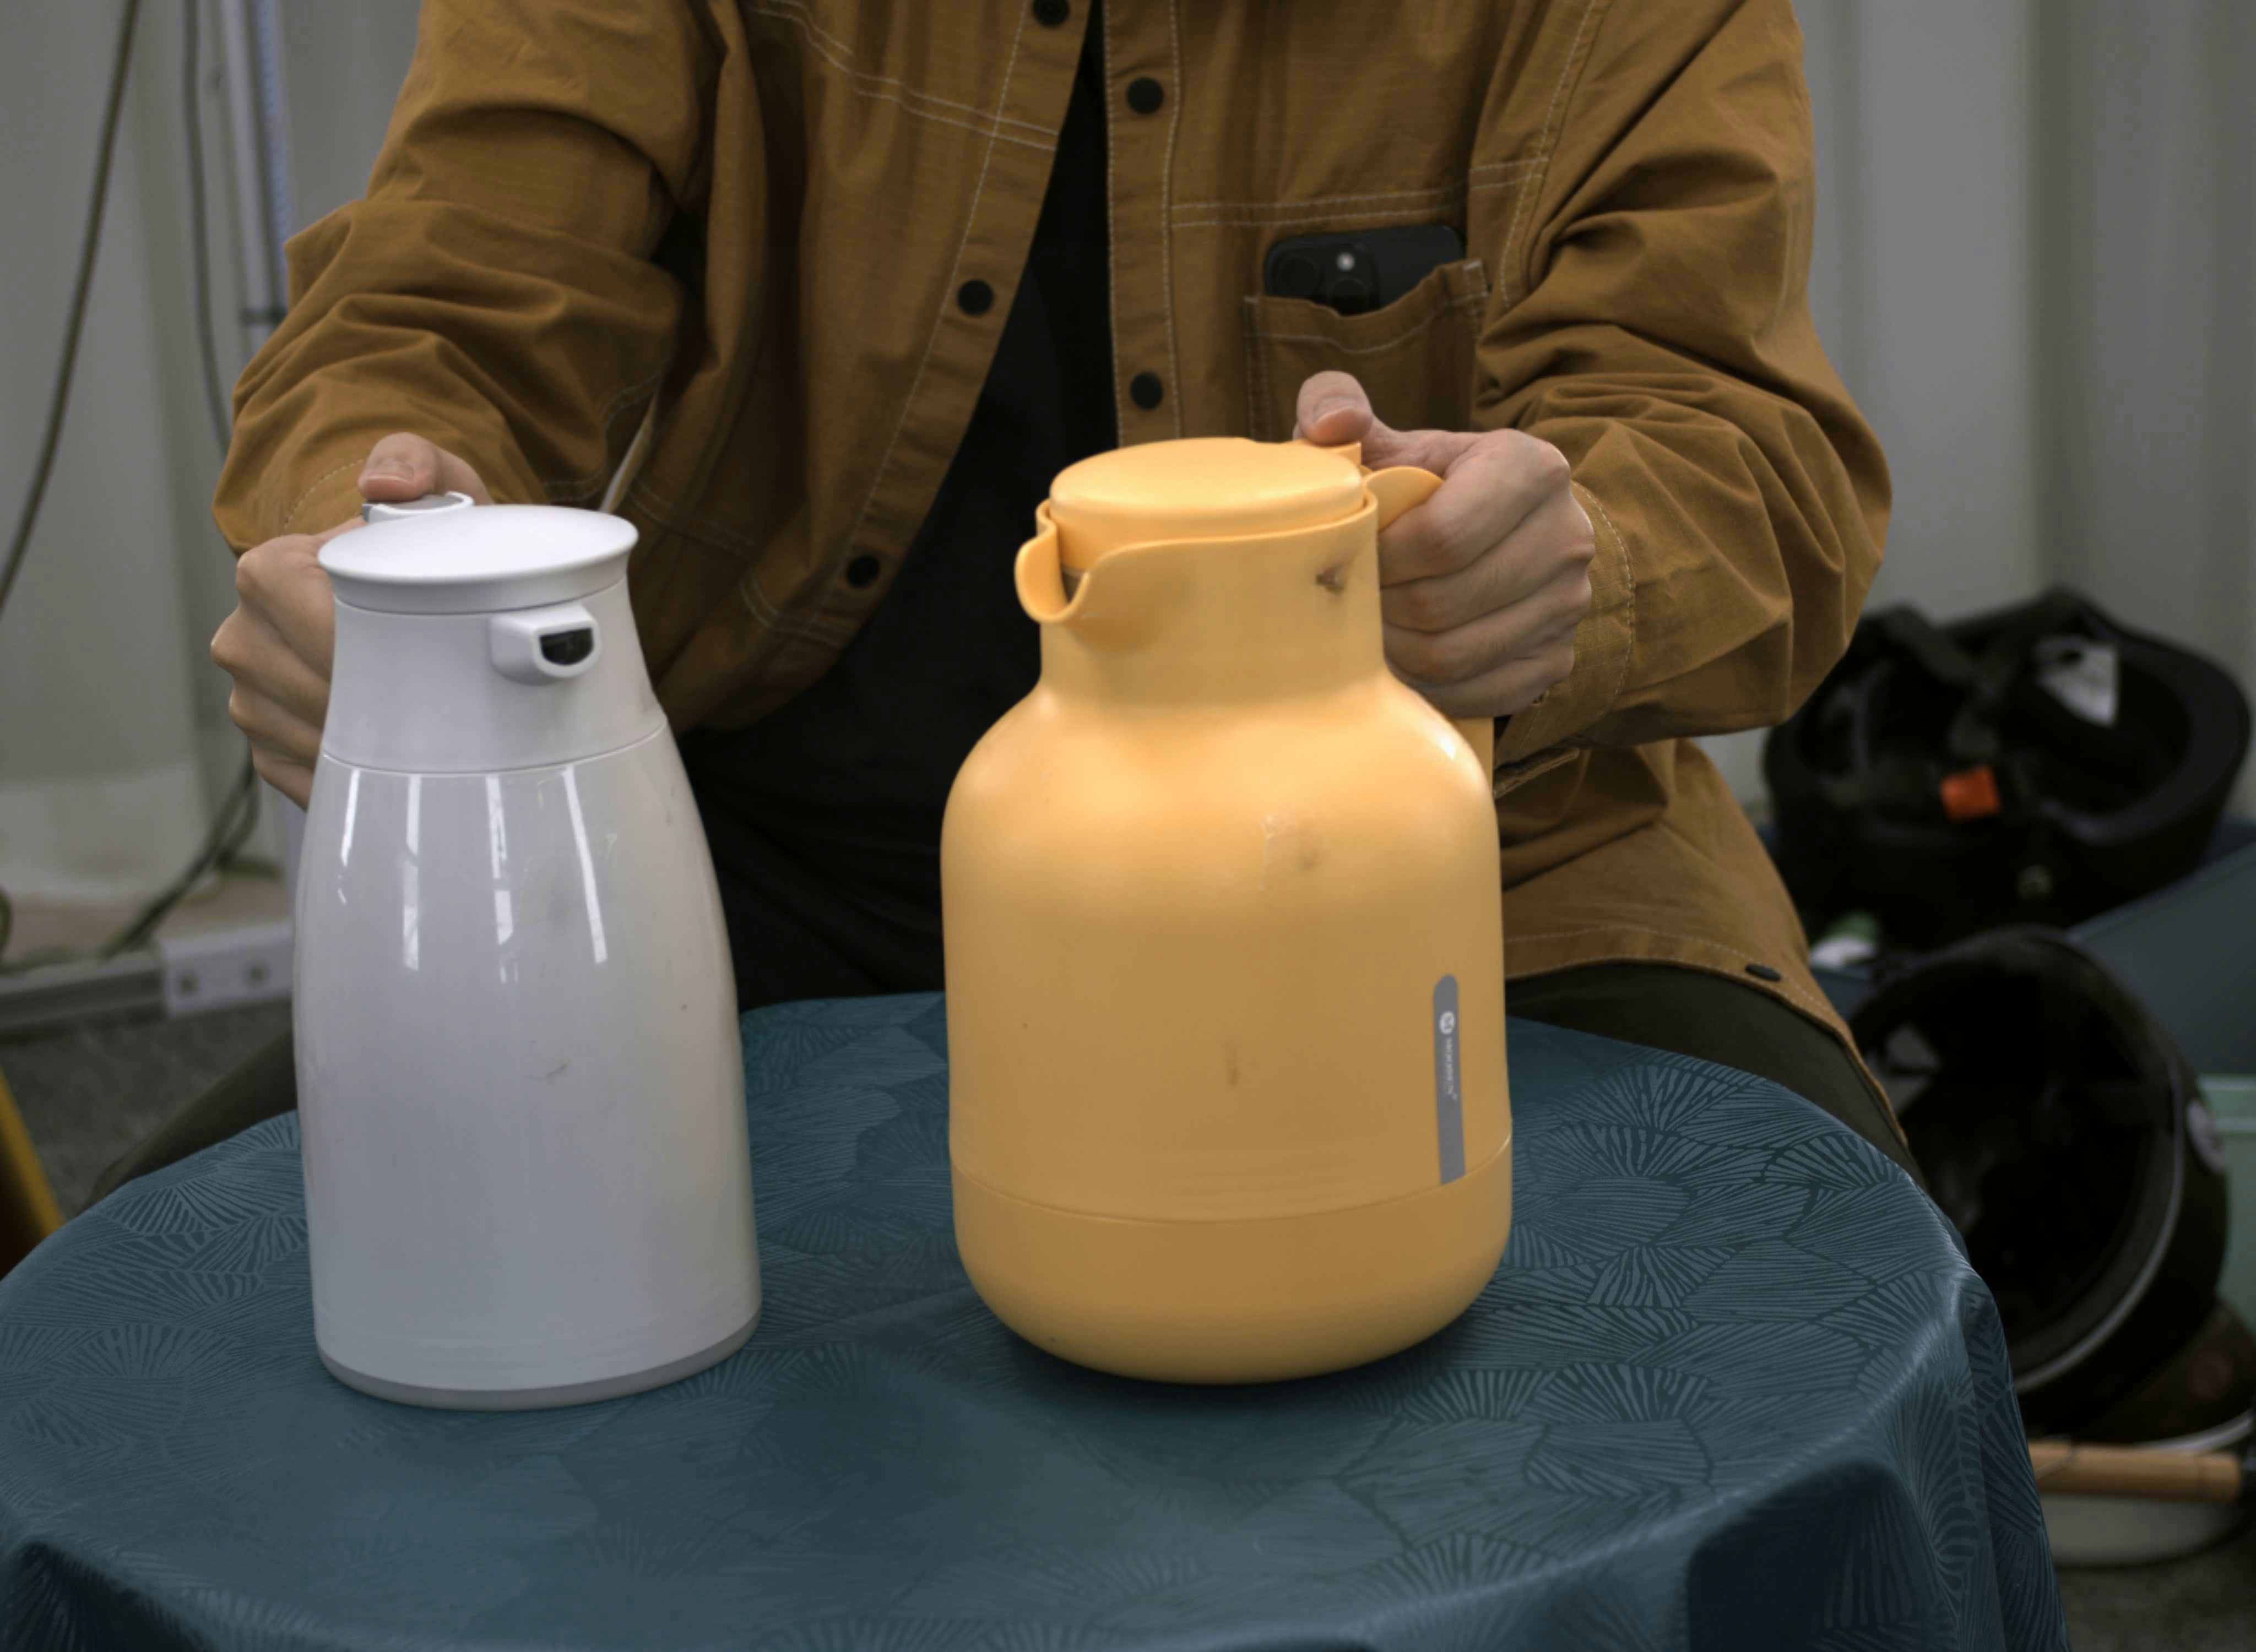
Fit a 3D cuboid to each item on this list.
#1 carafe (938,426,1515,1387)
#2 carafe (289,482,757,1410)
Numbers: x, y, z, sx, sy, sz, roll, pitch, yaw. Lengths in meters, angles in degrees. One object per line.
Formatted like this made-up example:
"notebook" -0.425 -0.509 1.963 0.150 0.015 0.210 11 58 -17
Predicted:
"carafe" 0.040 0.015 1.577 0.164 0.259 0.202 11 21 39
"carafe" -0.190 0.026 1.601 0.132 0.247 0.169 -11 16 -28
